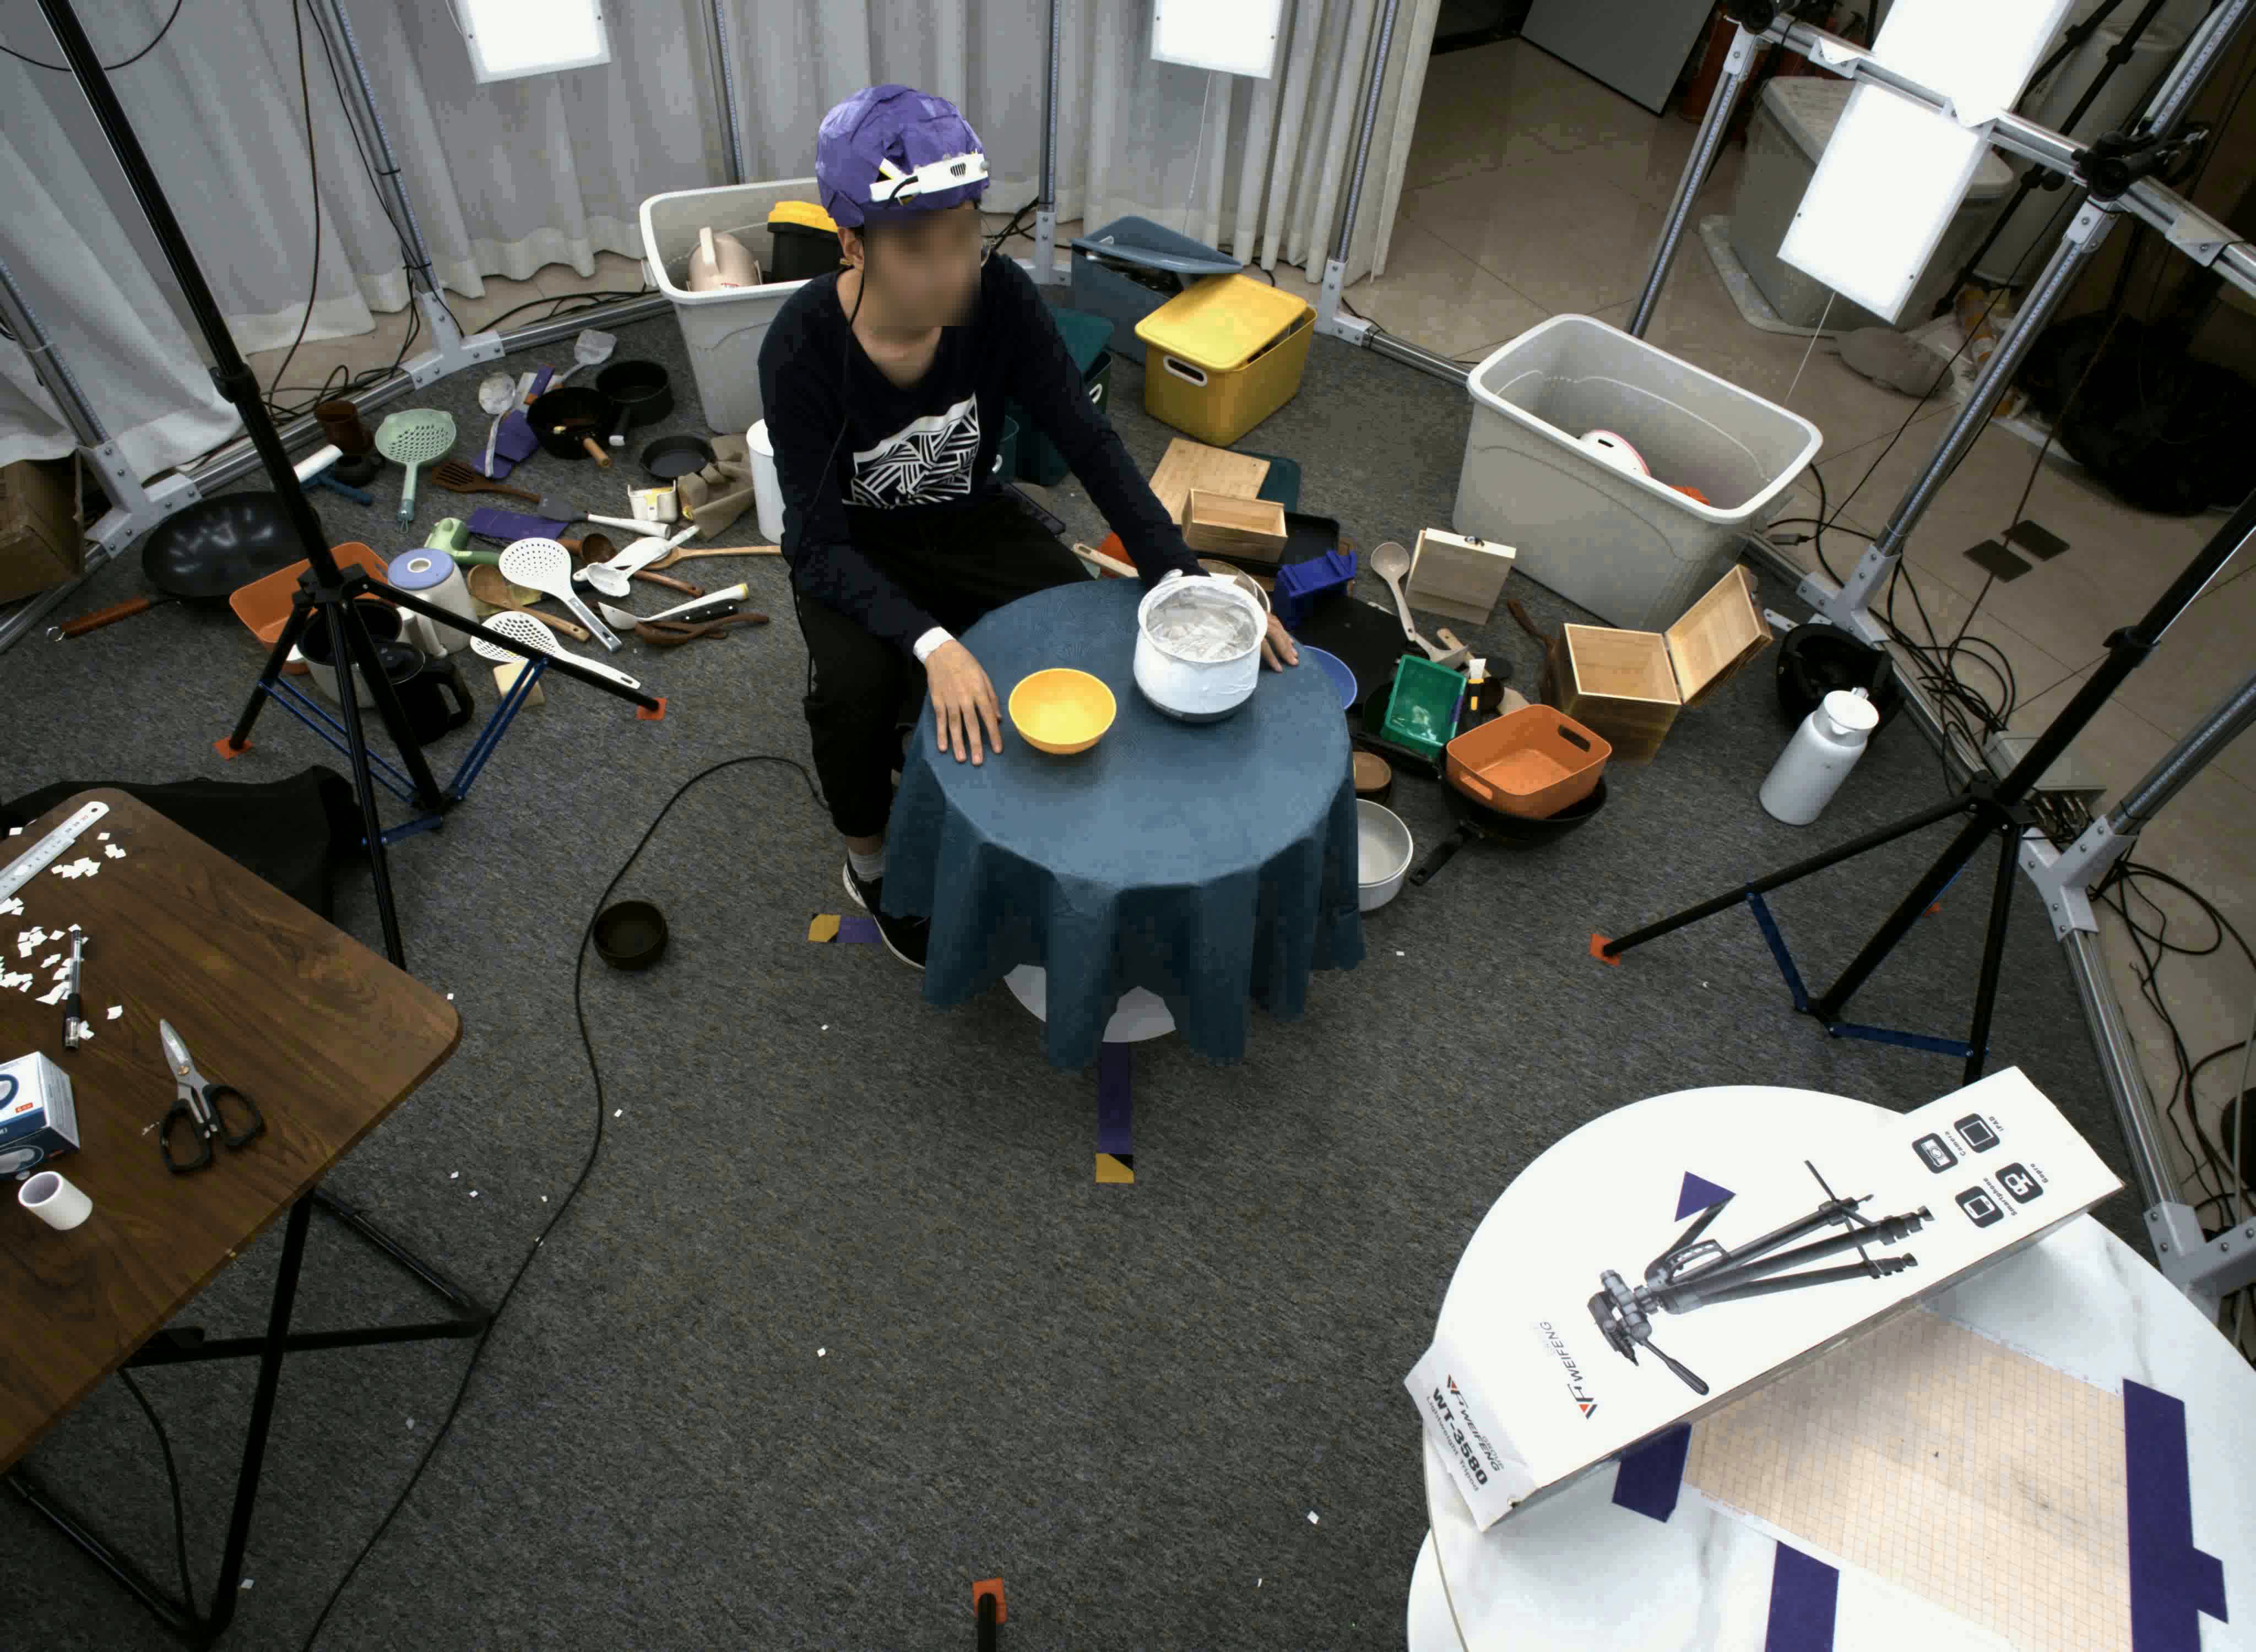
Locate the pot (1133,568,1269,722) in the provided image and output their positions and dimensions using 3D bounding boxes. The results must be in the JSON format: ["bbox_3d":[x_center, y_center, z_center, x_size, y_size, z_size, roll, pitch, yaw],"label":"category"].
[{"bbox_3d":[0.088,-0.264,1.813,0.179,0.133,0.239,-13,52,-18],"label":"pot"}]

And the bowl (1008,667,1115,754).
[{"bbox_3d":[-0.091,-0.146,1.747,0.145,0.058,0.149,3,49,-3],"label":"bowl"}]
